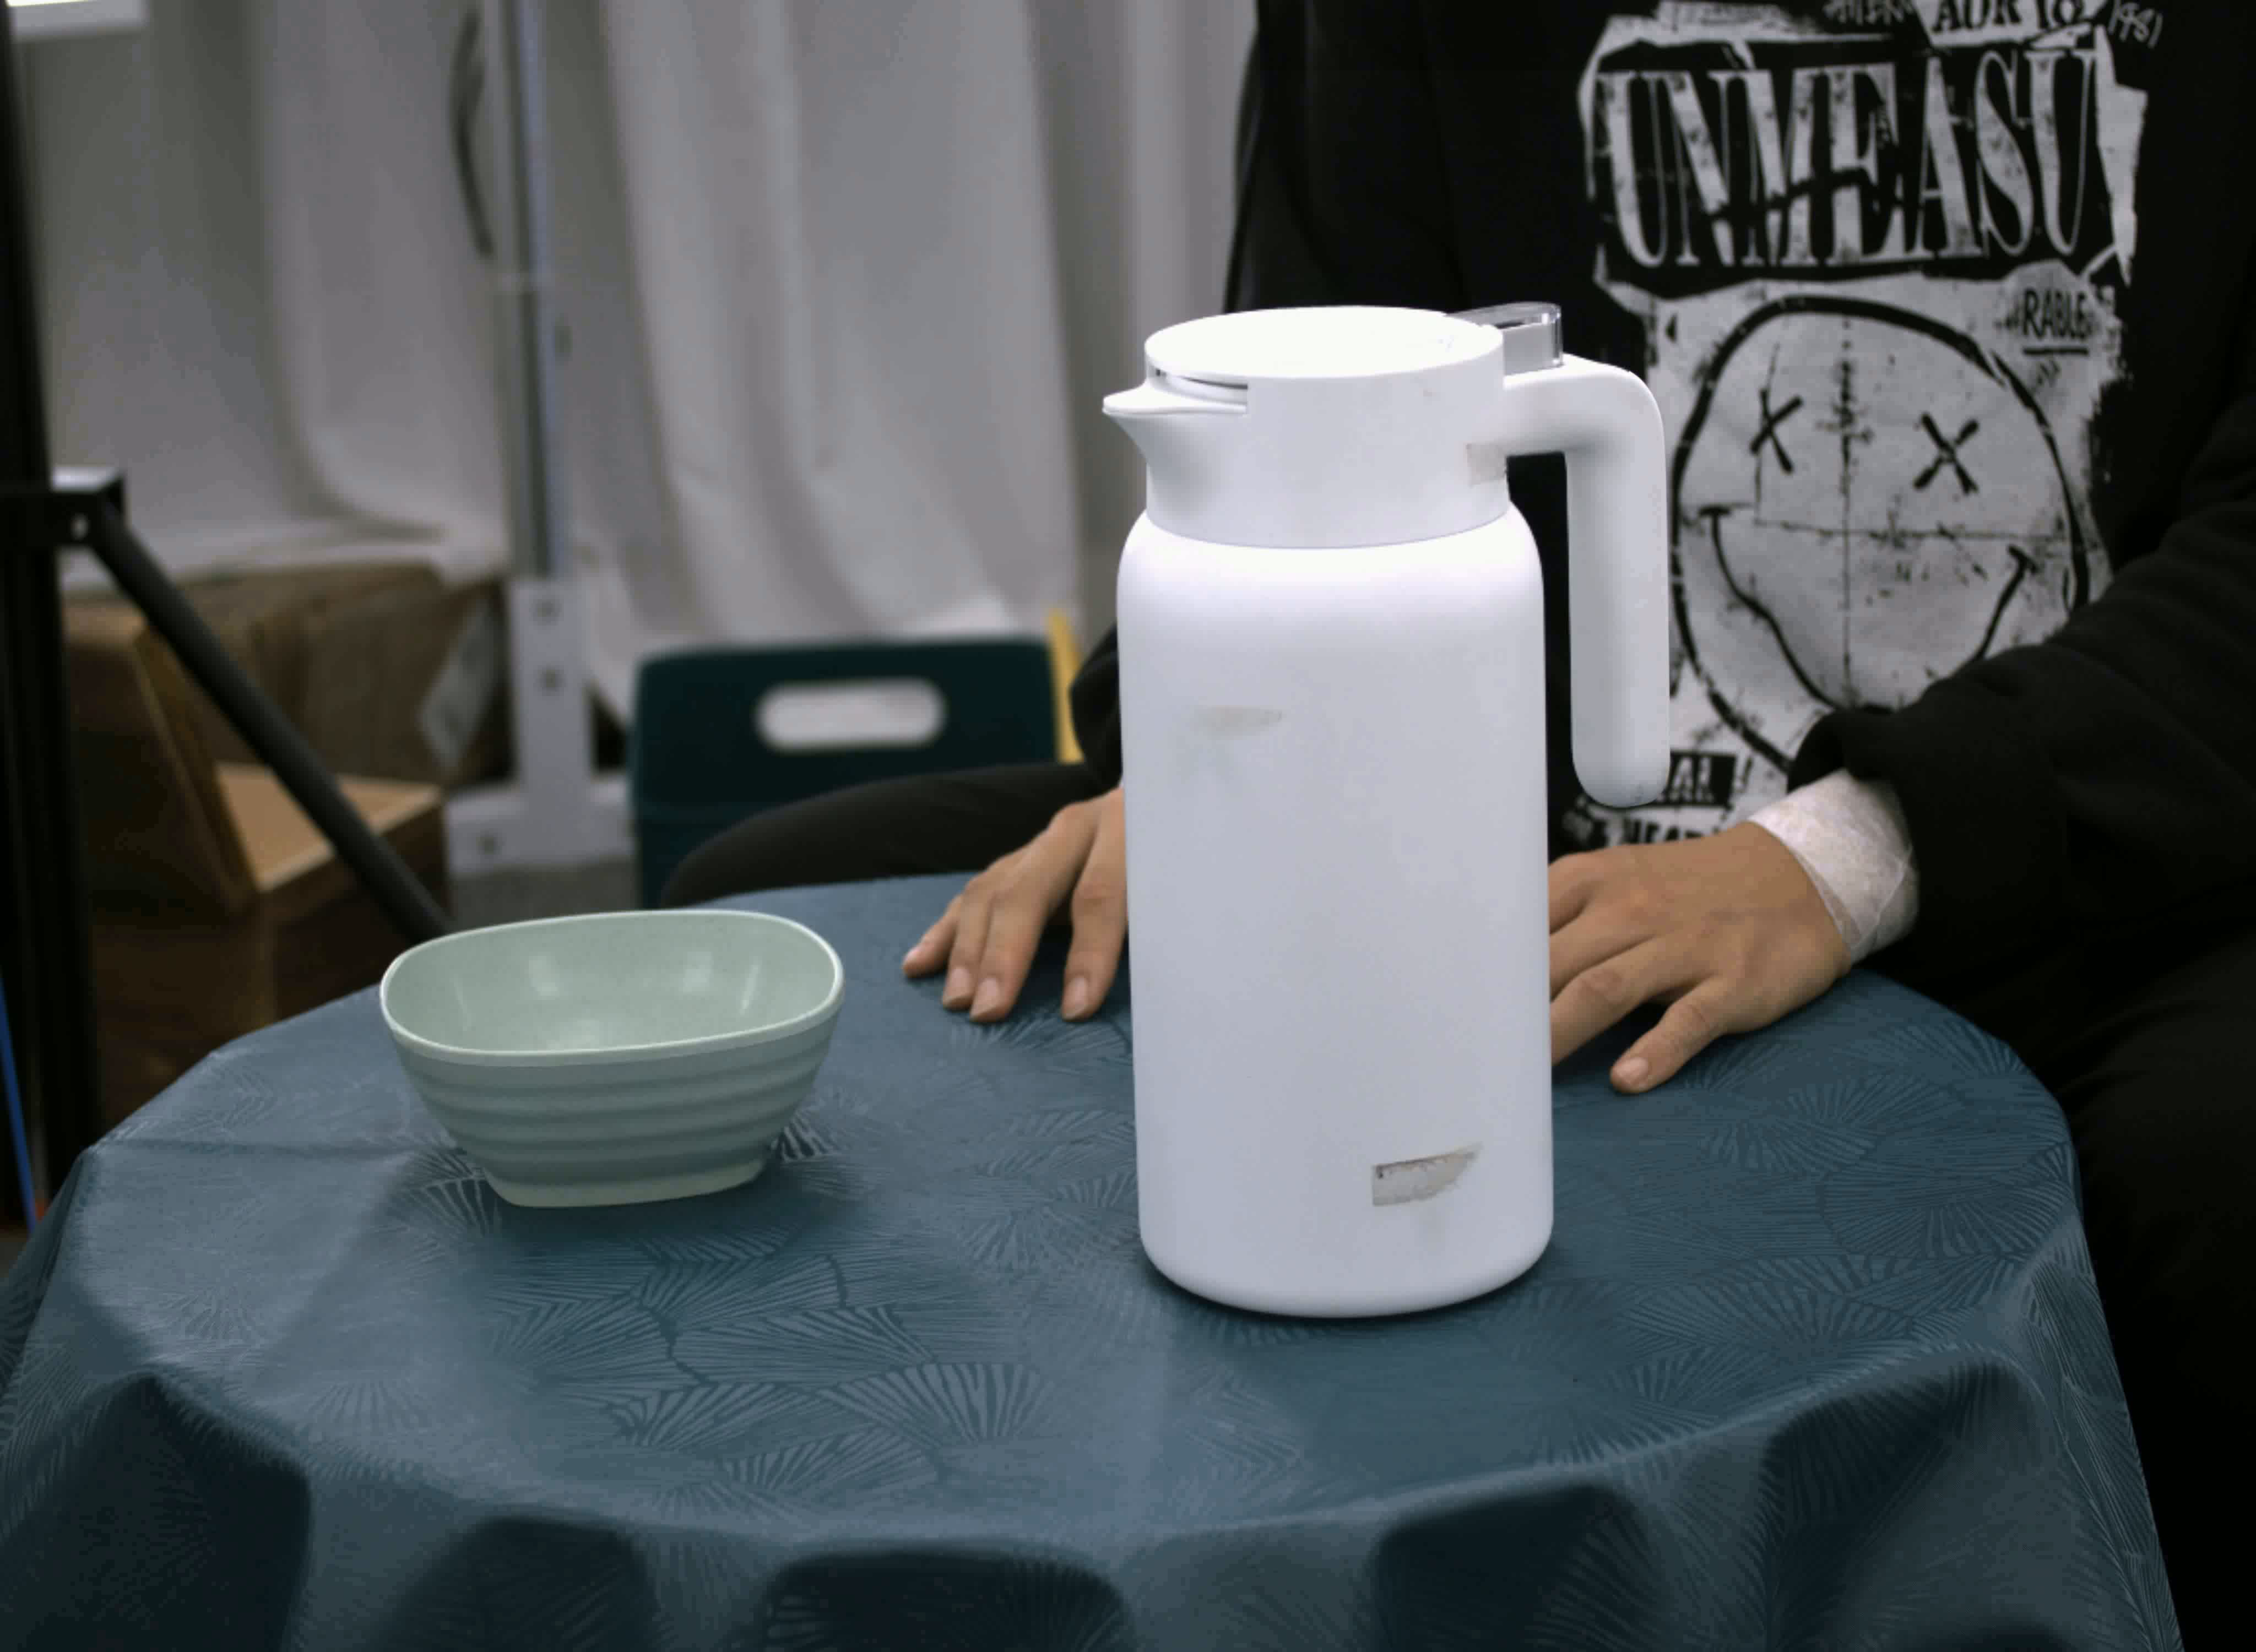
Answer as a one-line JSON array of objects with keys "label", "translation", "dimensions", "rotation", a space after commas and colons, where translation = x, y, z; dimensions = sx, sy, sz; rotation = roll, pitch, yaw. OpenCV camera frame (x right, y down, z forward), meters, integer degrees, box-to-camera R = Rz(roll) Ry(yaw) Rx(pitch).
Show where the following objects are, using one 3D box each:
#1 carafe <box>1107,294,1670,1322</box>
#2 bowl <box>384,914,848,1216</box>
[{"label": "carafe", "translation": [0.073, -0.009, 1.468], "dimensions": [0.169, 0.269, 0.126], "rotation": [-11, 15, -29]}, {"label": "bowl", "translation": [-0.152, 0.075, 1.601], "dimensions": [0.150, 0.058, 0.152], "rotation": [-3, 16, -1]}]
